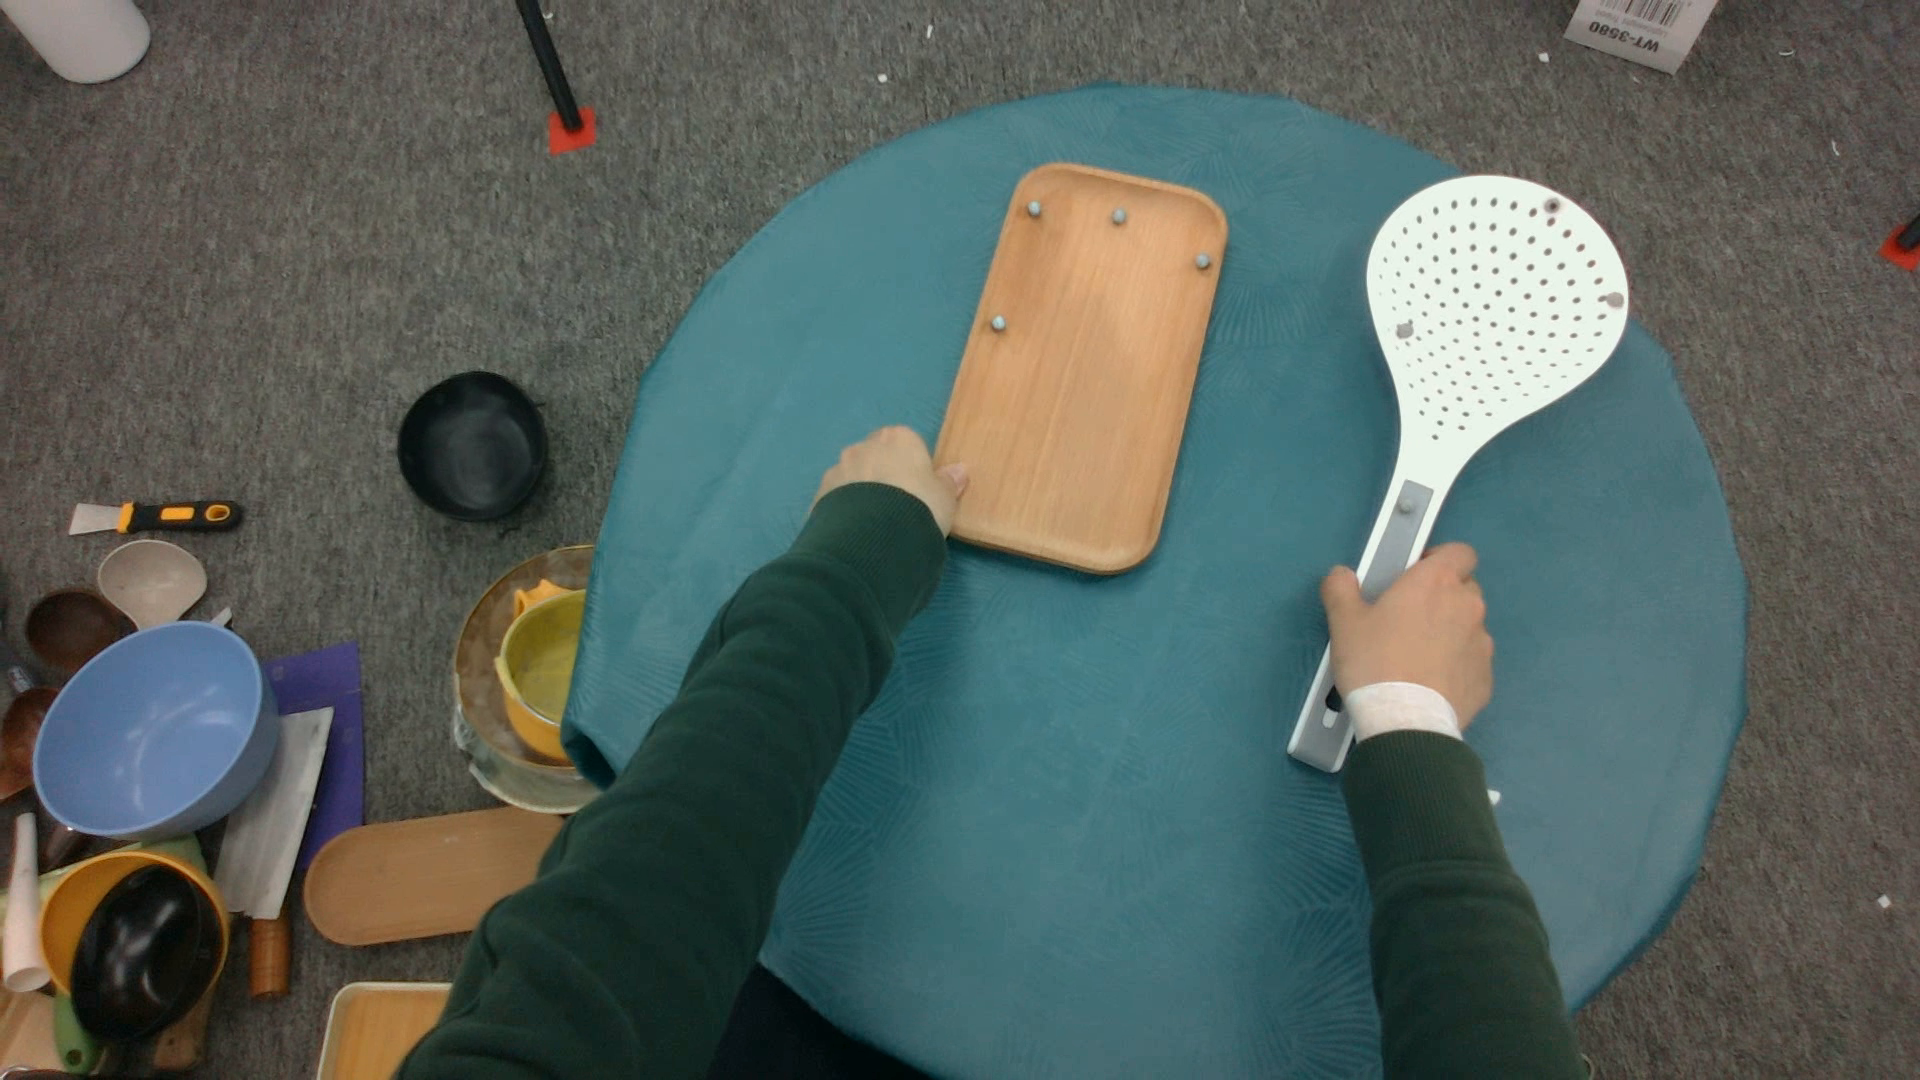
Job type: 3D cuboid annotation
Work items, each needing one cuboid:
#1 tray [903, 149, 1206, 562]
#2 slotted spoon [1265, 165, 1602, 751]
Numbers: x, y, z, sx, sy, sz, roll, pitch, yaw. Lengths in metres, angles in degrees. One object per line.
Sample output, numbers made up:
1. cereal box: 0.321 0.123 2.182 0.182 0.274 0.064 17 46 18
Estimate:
1. tray: 0.056 -0.108 0.765 0.130 0.023 0.251 13 67 7
2. slotted spoon: 0.235 -0.051 0.726 0.136 0.045 0.351 23 69 11
